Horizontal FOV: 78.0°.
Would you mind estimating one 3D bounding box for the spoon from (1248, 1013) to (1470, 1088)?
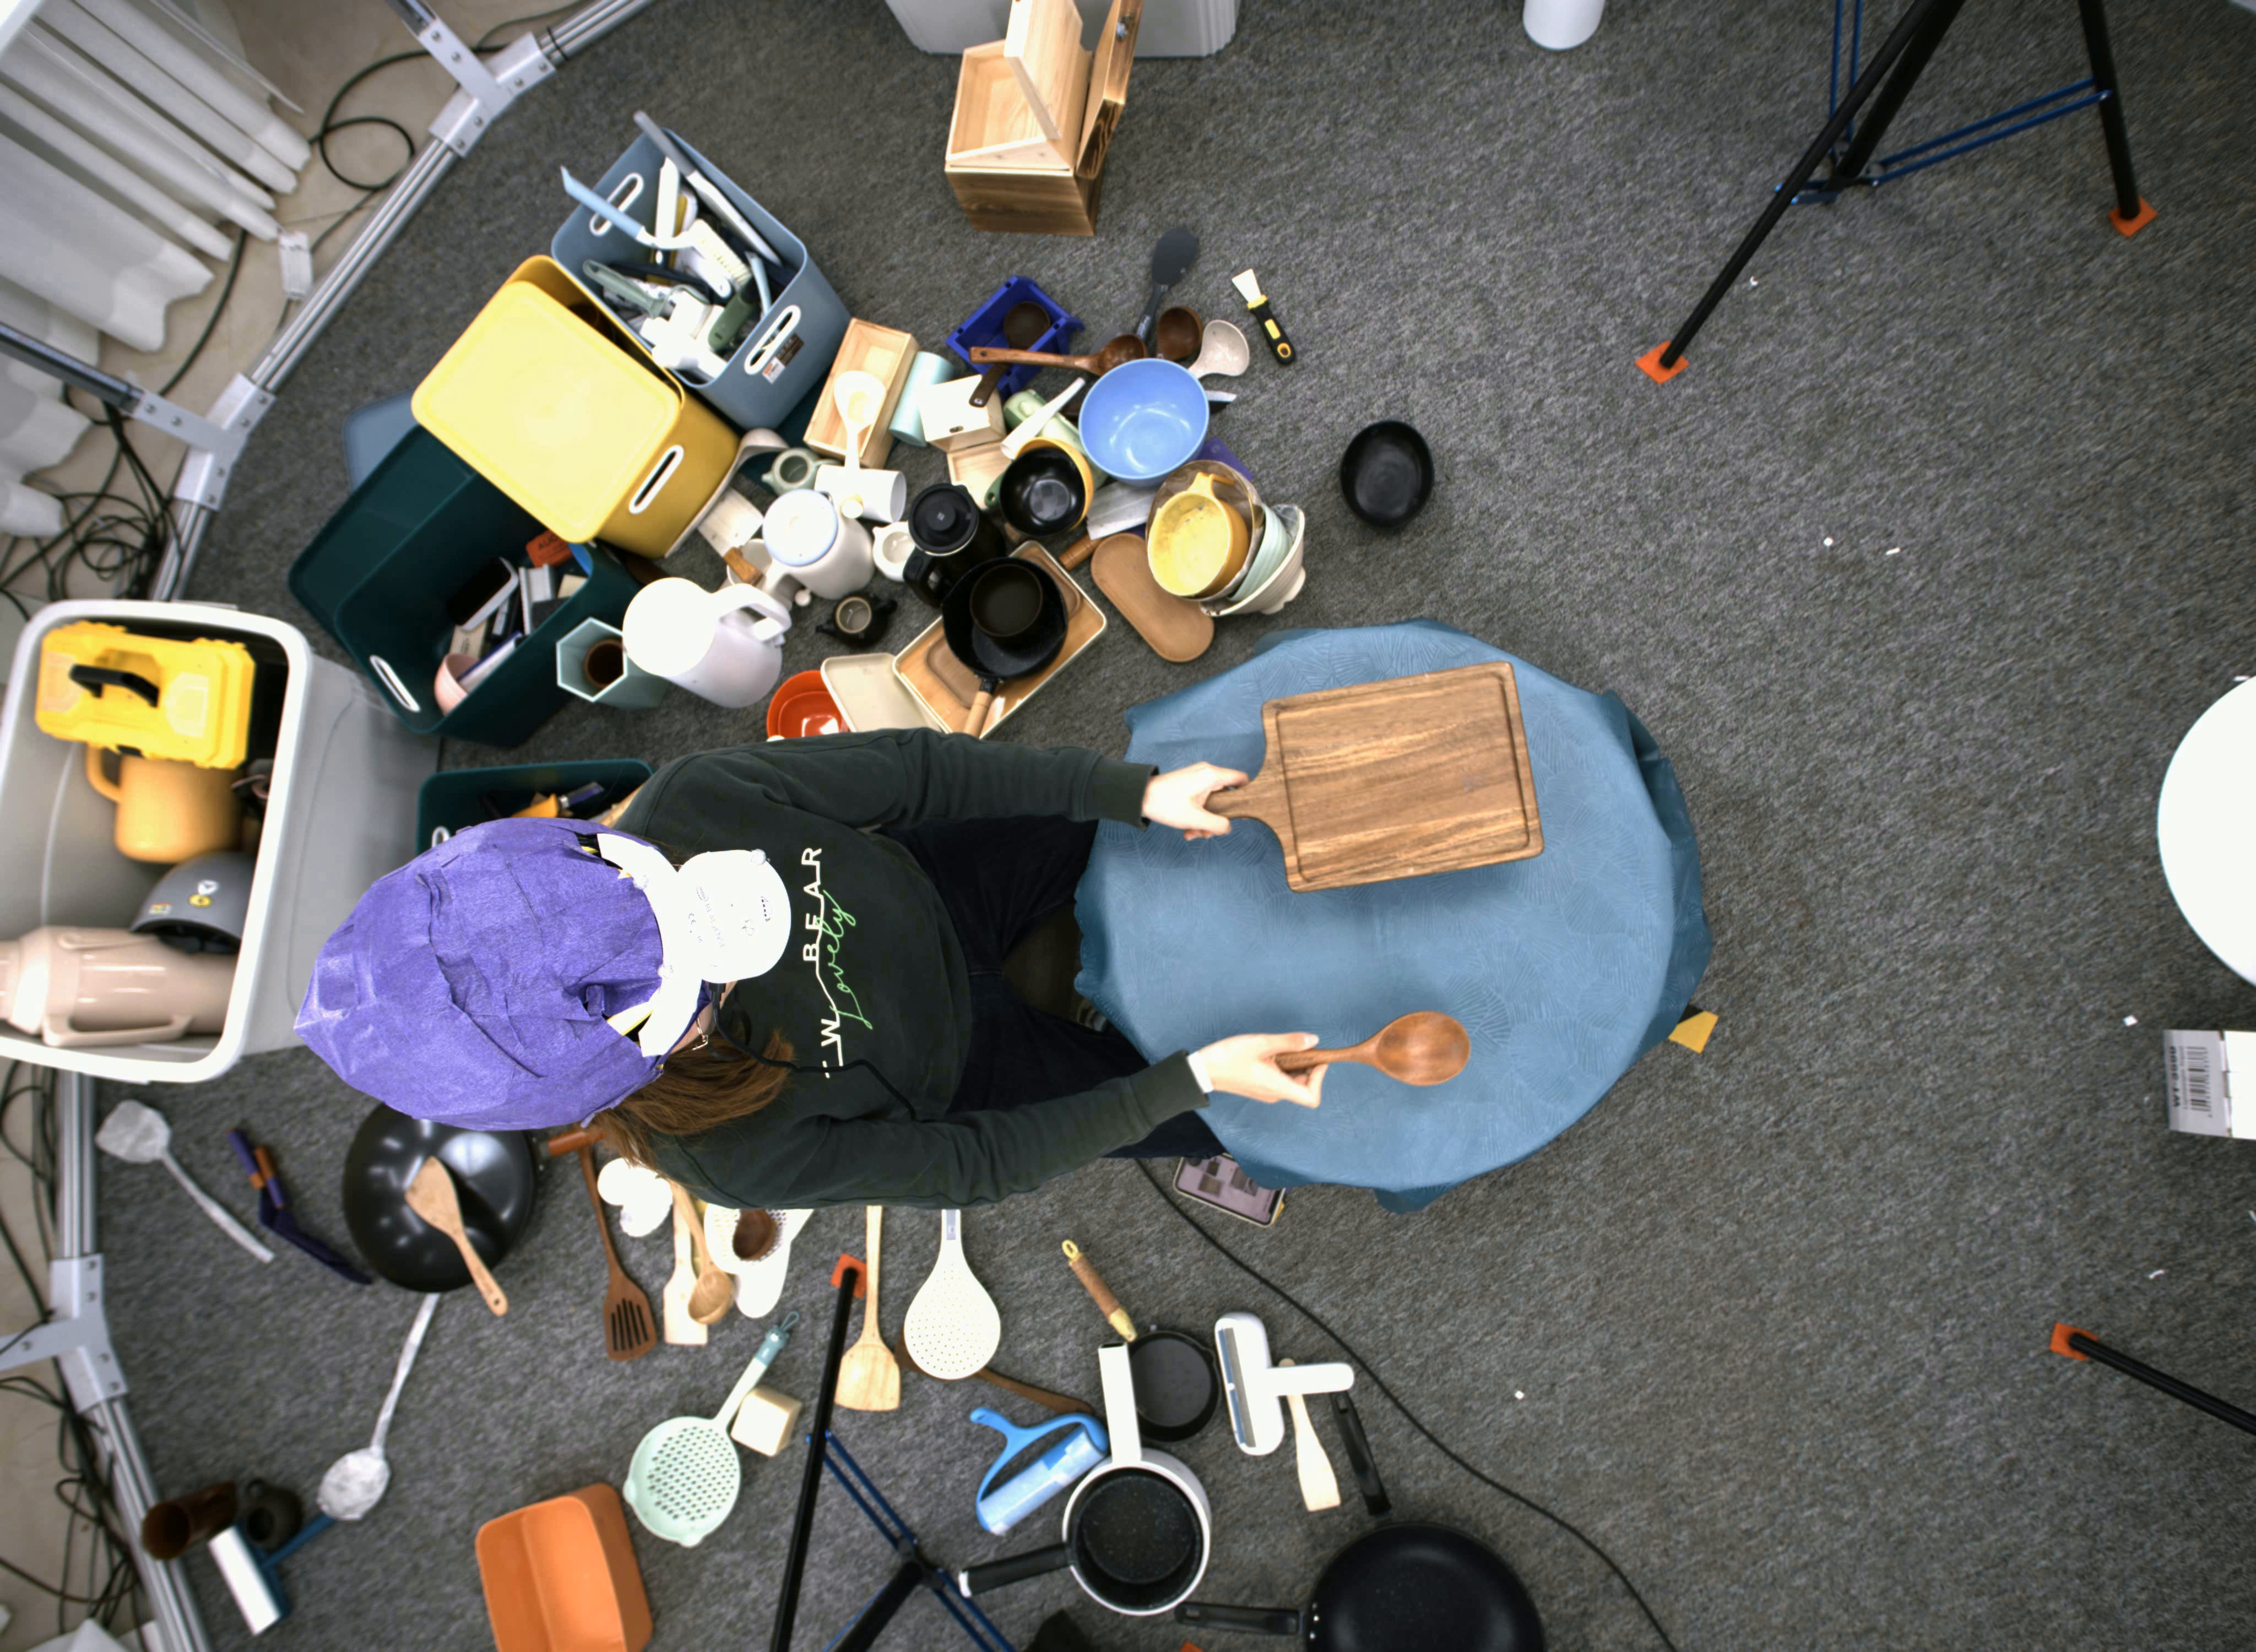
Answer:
[{"bbox_3d":[0.225,0.224,1.355,0.216,0.017,0.076,-7,99,6],"label":"spoon"}]

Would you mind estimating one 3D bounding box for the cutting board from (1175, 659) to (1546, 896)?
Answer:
[{"bbox_3d":[0.220,-0.041,1.367,0.354,0.023,0.200,-9,87,10],"label":"cutting board"}]
